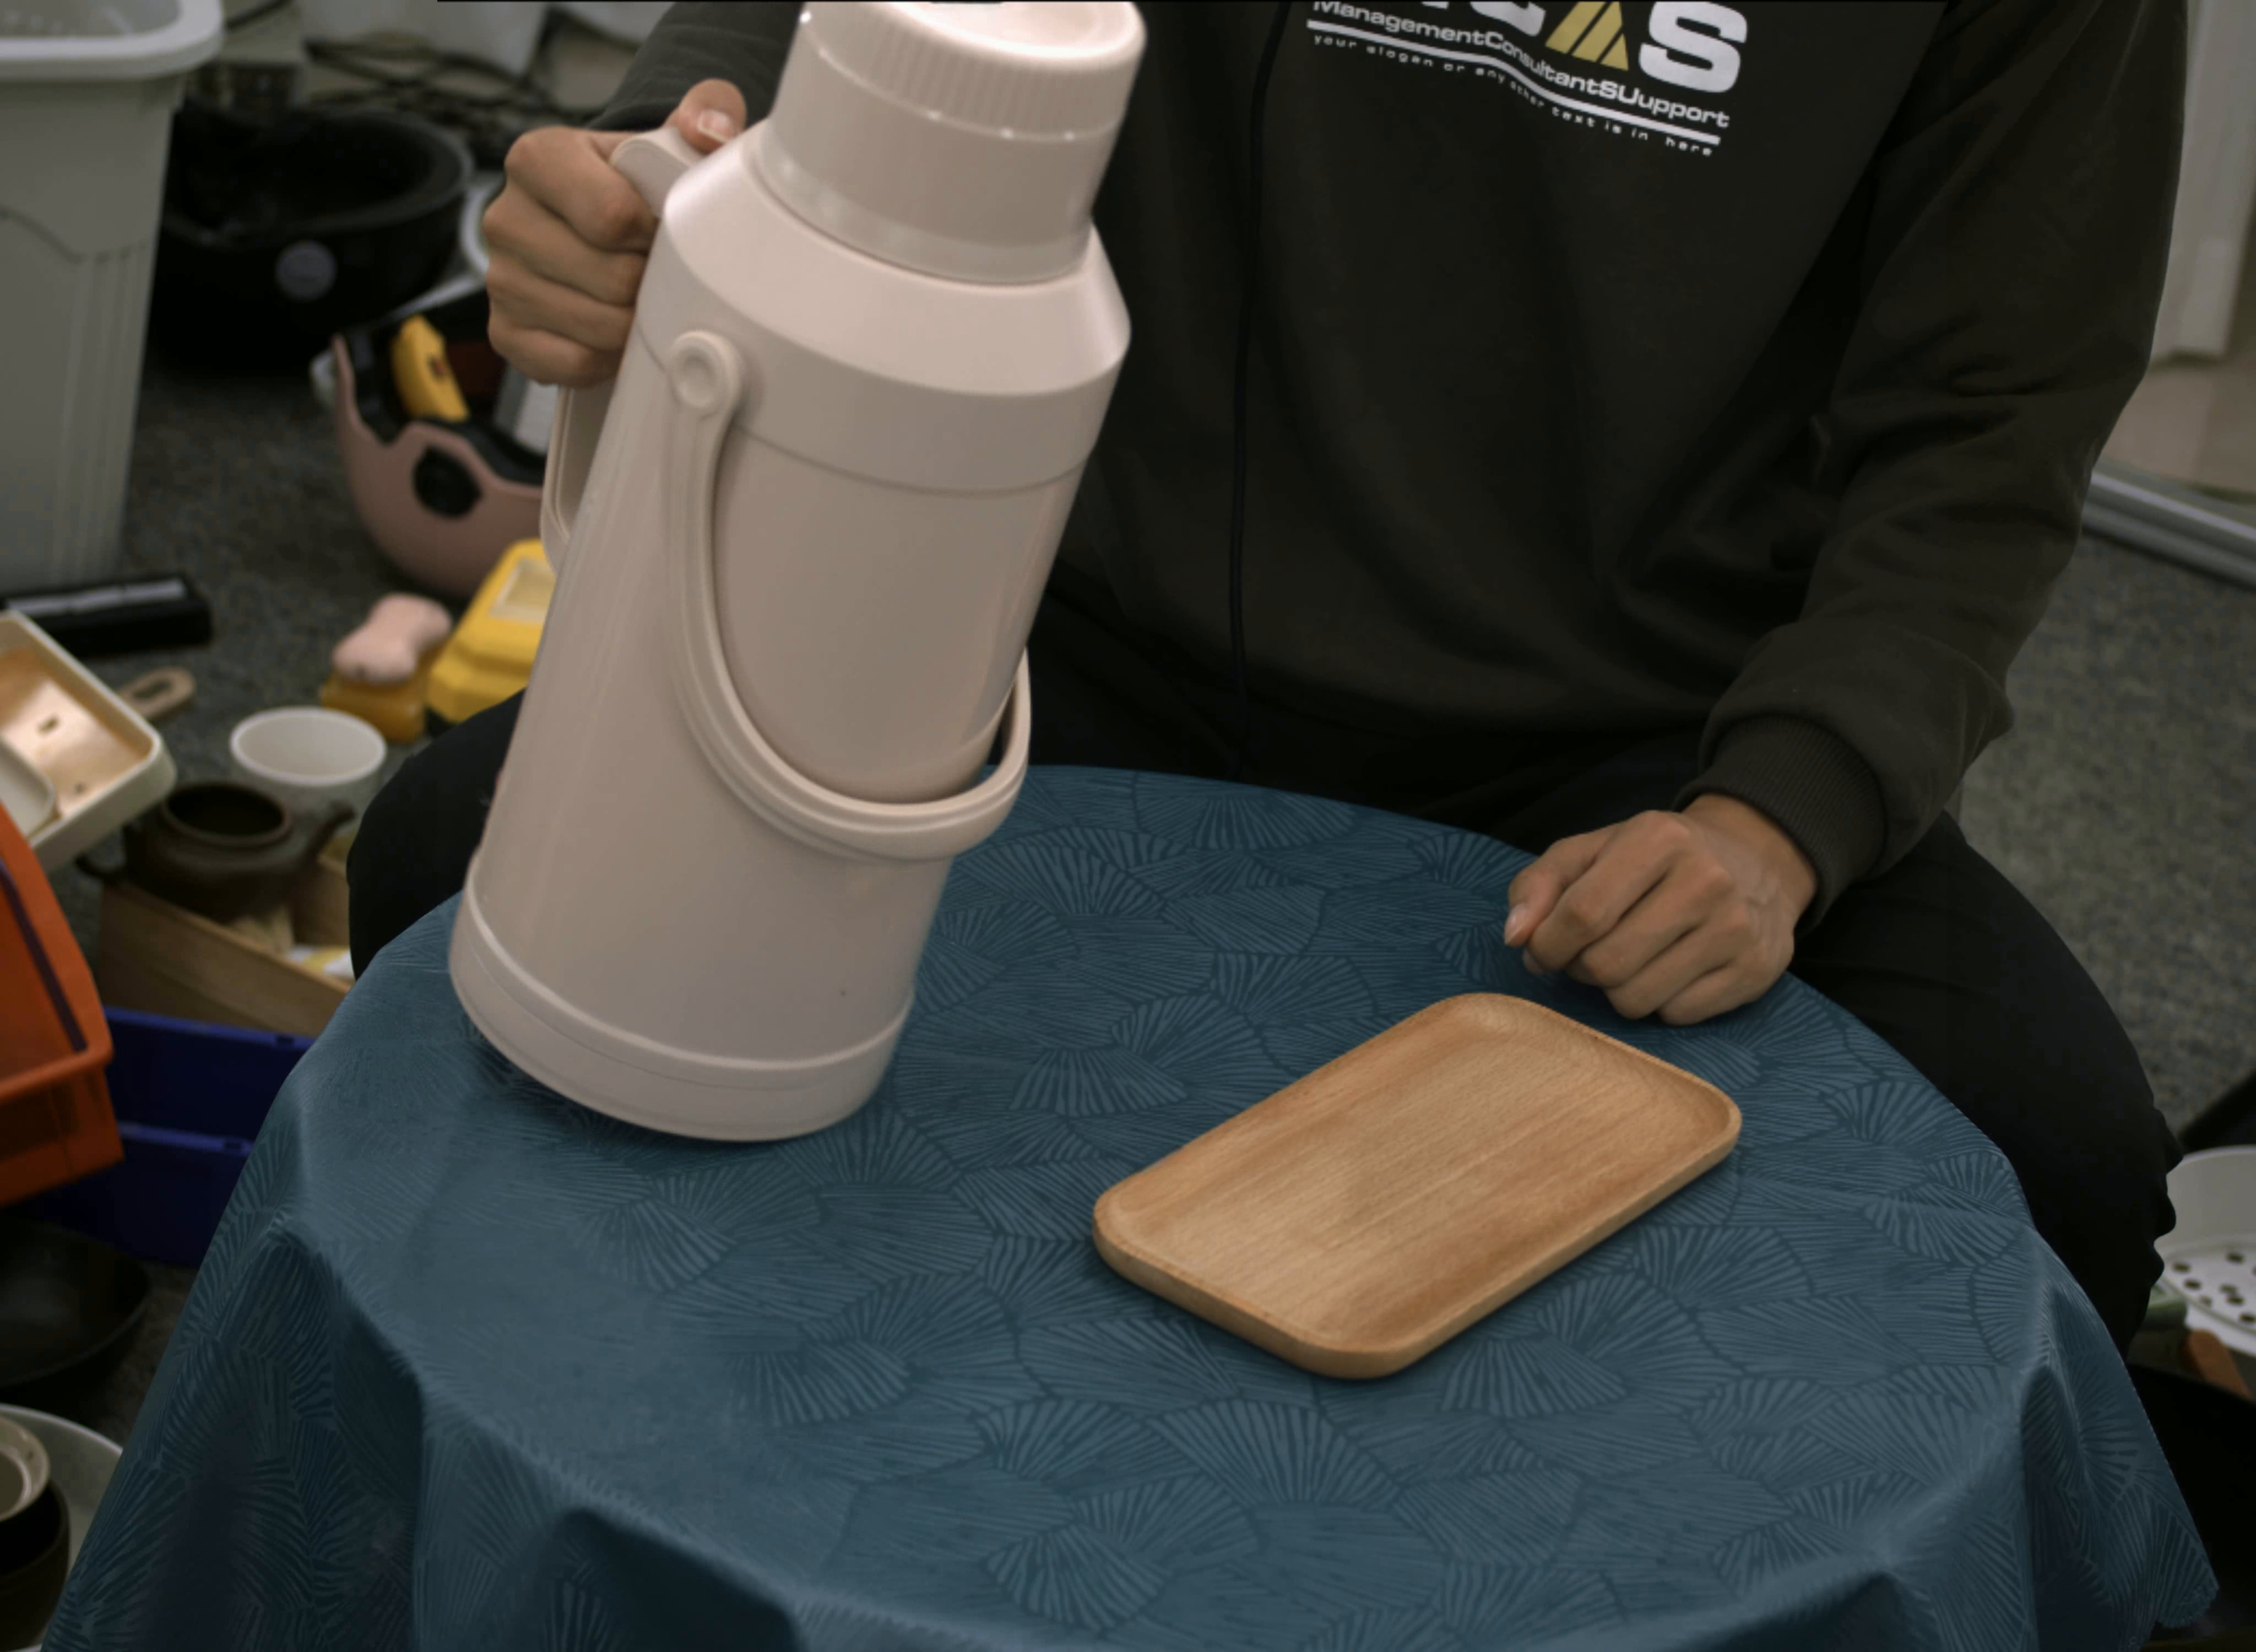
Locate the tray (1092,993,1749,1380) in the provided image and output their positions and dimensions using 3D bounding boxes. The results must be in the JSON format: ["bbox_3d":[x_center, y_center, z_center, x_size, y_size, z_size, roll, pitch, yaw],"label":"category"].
[{"bbox_3d":[0.102,0.121,1.819,0.131,0.023,0.249,27,32,30],"label":"tray"}]

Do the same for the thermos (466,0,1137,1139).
[{"bbox_3d":[-0.110,-0.108,1.770,0.208,0.405,0.174,35,35,27],"label":"thermos"}]
